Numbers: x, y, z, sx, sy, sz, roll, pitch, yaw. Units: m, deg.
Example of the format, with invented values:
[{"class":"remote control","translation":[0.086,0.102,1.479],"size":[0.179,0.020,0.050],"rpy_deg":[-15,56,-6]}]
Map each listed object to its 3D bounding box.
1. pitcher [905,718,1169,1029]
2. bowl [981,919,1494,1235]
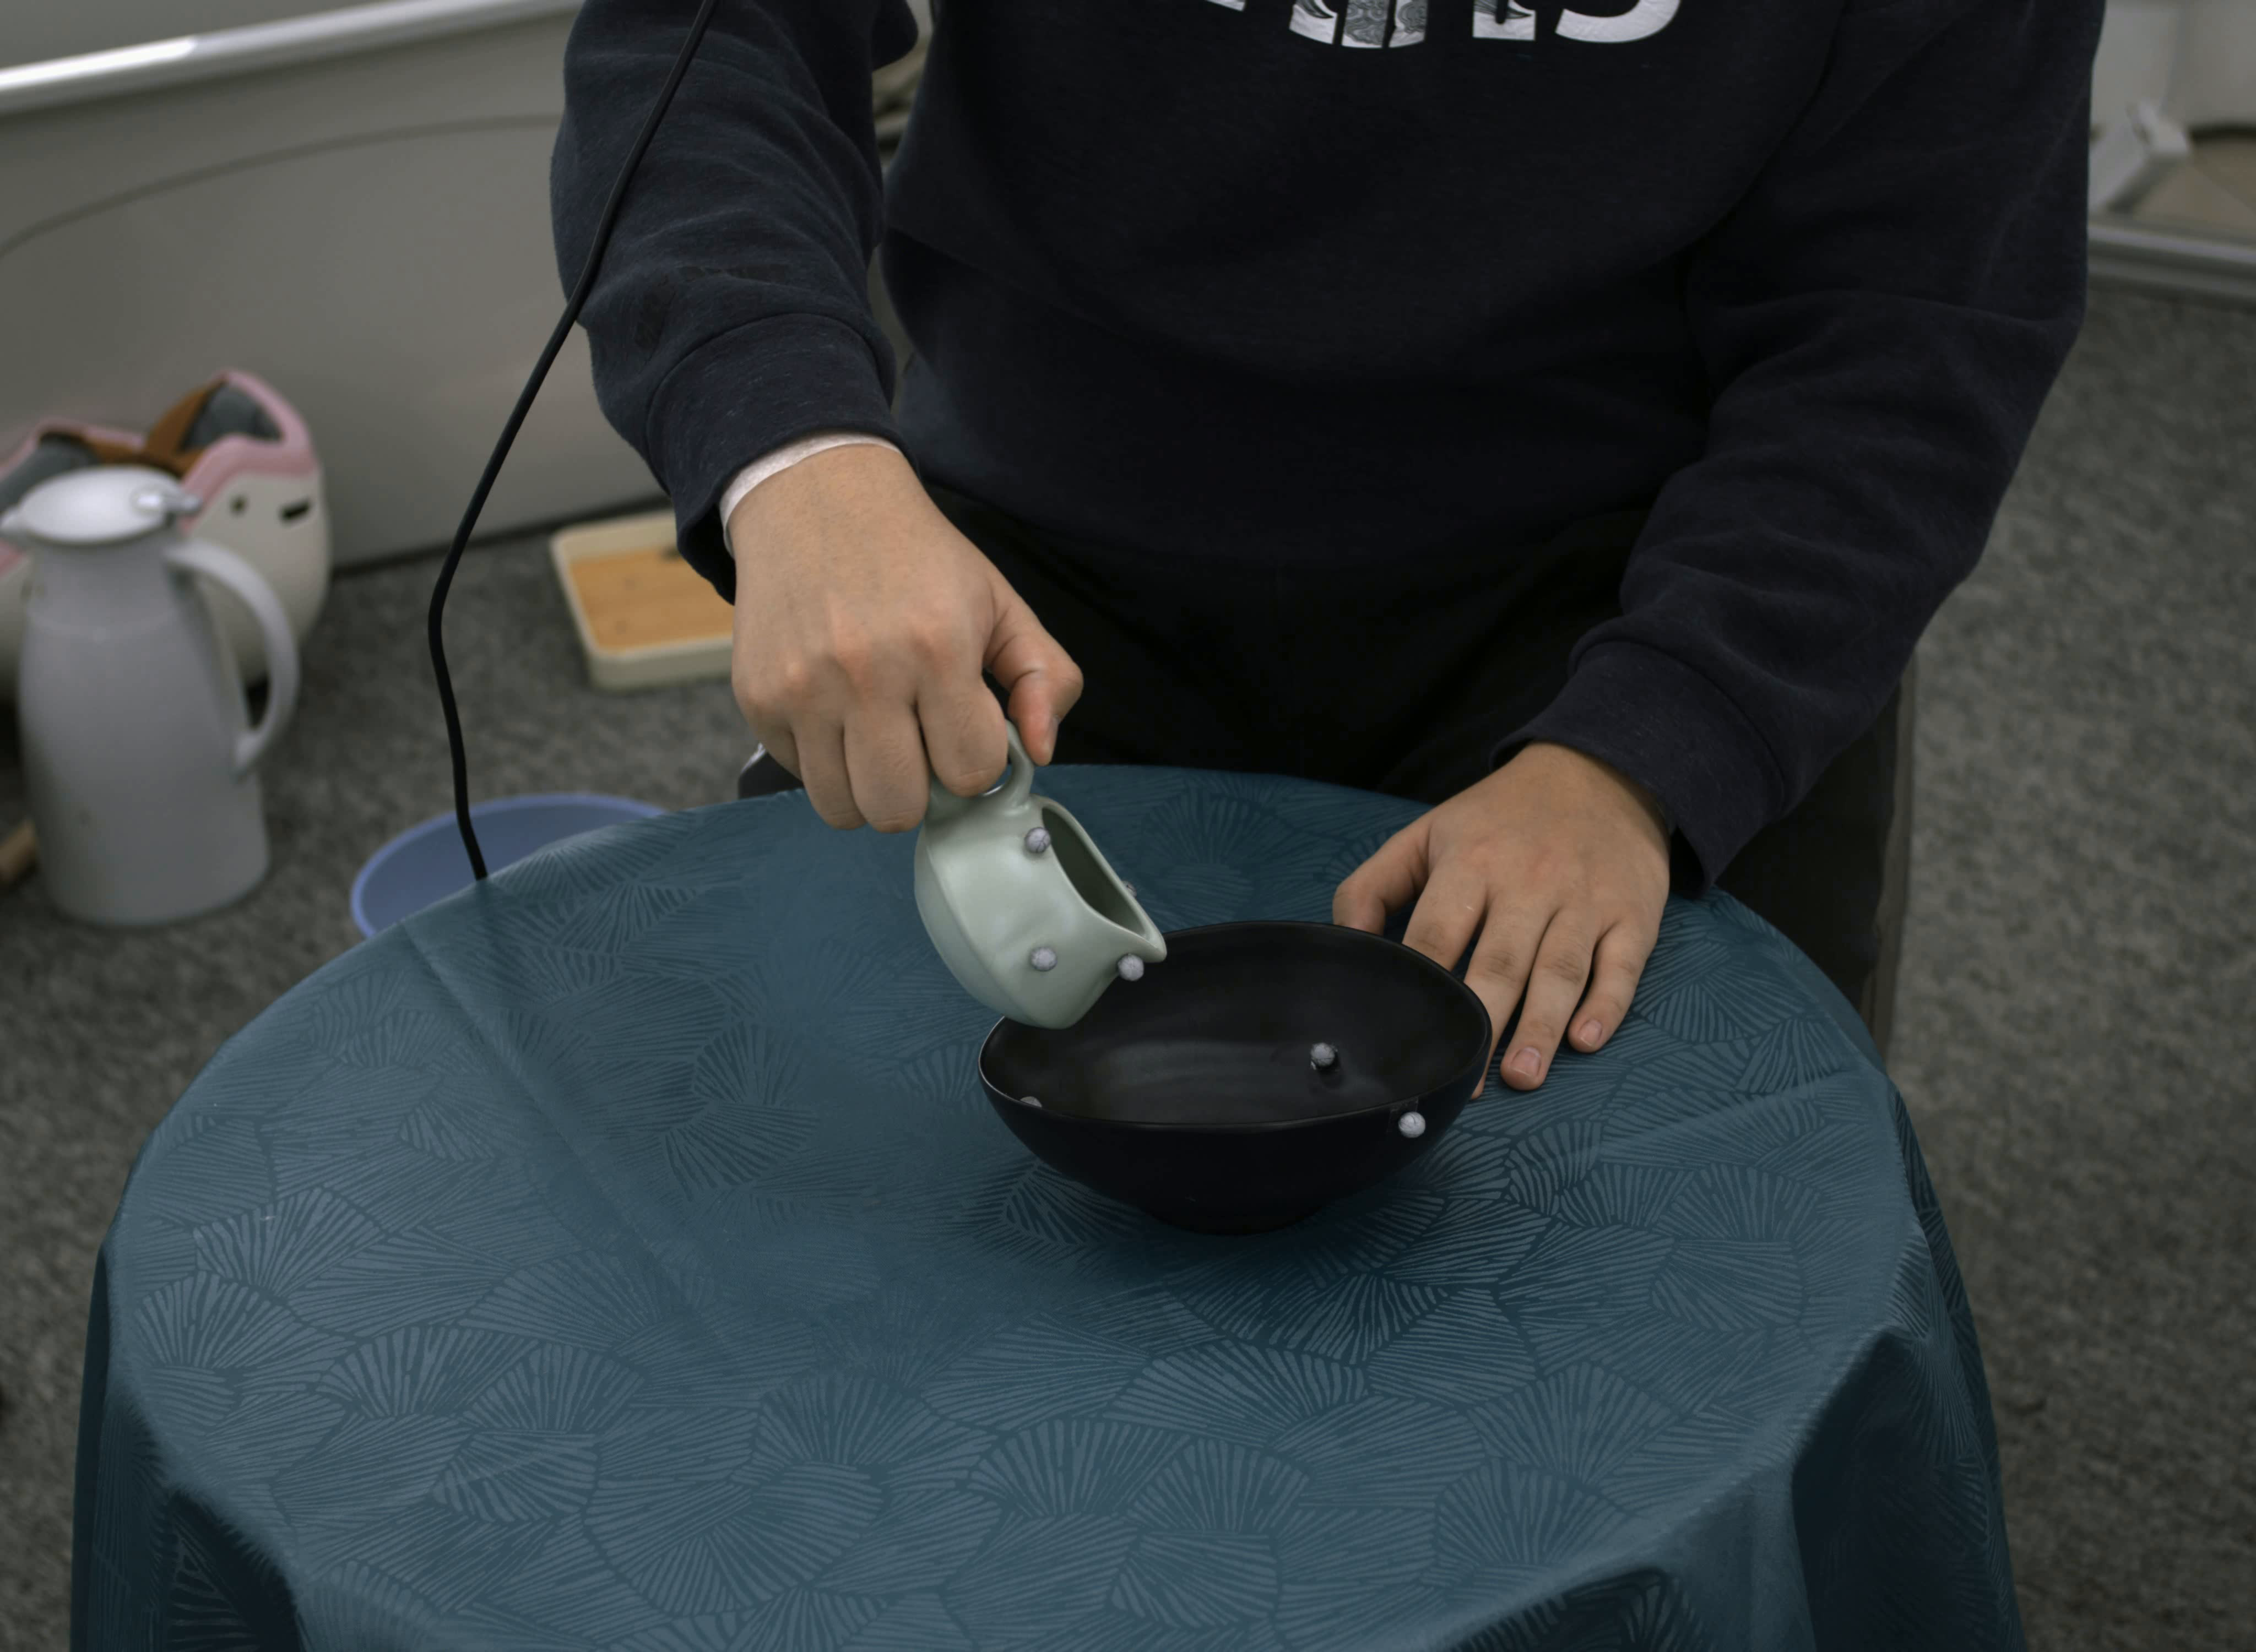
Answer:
[{"class":"pitcher","translation":[-0.039,0.015,1.812],"size":[0.060,0.107,0.087],"rpy_deg":[-33,20,16]},{"class":"bowl","translation":[0.036,0.092,1.852],"size":[0.169,0.066,0.139],"rpy_deg":[-2,26,3]}]
